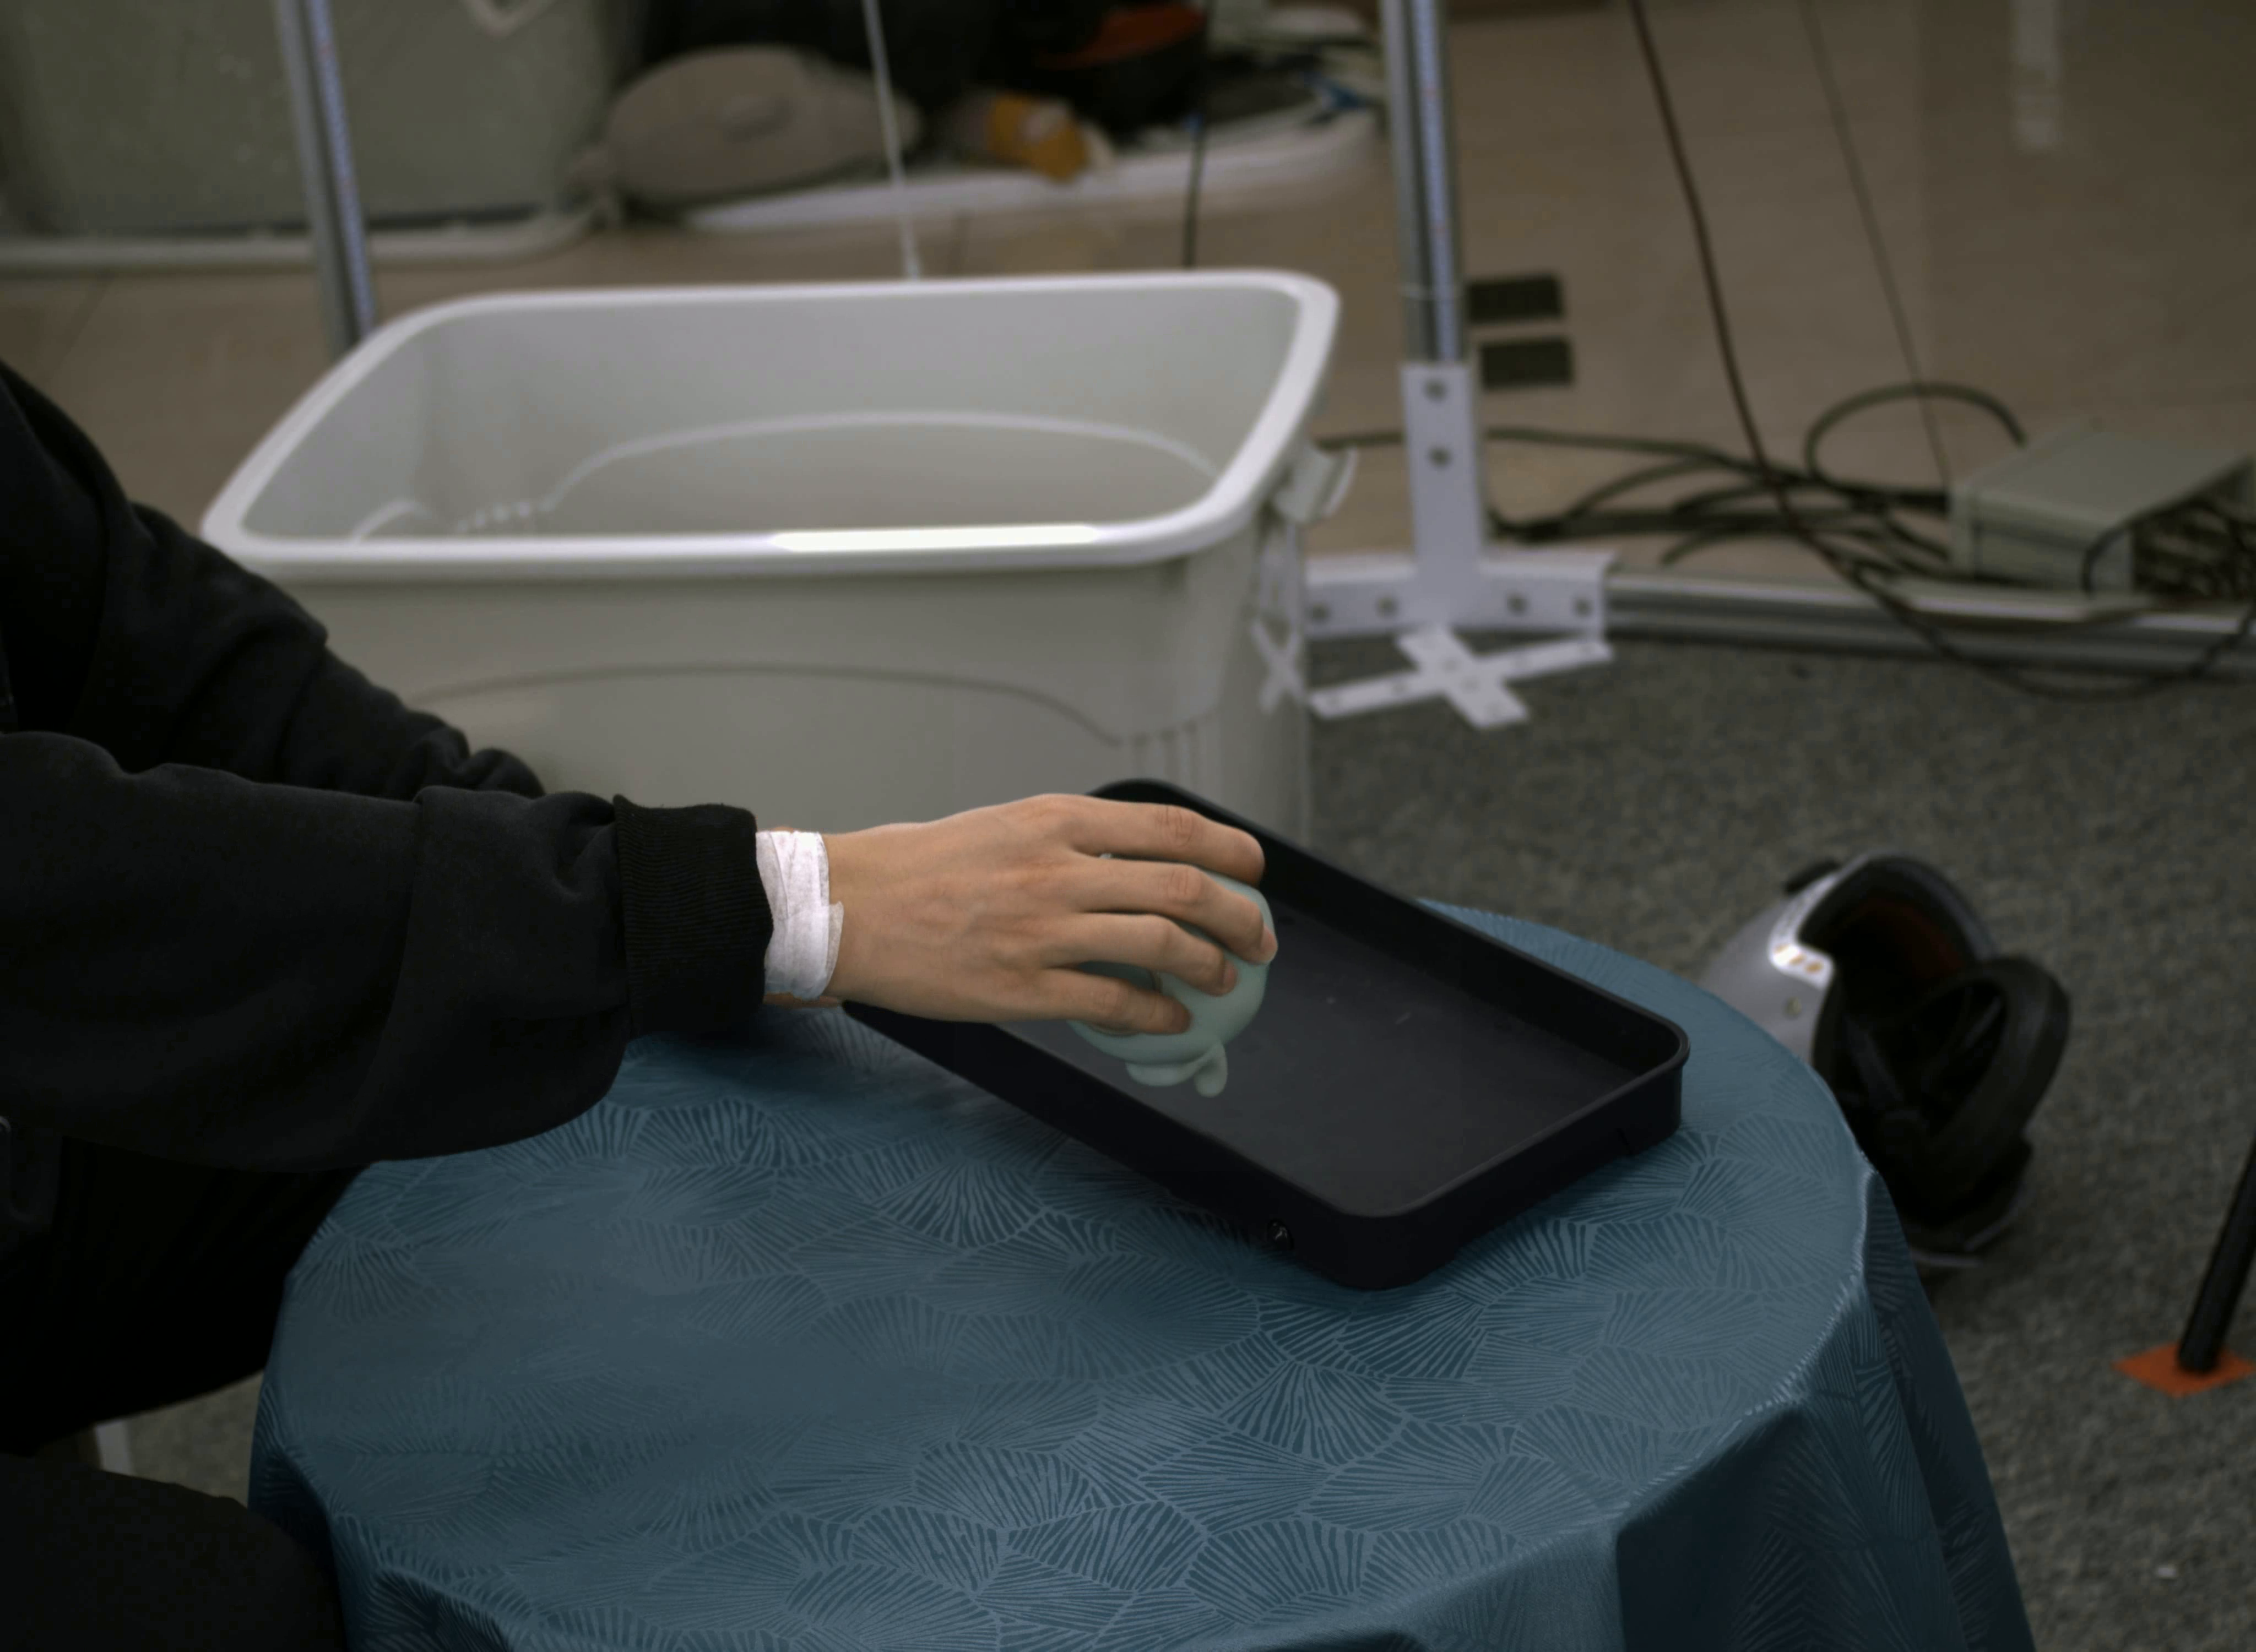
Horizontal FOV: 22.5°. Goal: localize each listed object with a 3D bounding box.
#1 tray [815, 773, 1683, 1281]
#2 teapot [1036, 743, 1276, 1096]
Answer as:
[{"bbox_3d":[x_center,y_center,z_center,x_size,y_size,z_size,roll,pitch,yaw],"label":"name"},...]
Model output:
[{"bbox_3d":[0.044,0.073,2.199,0.315,0.038,0.182,25,39,38],"label":"tray"},{"bbox_3d":[0.011,0.046,2.056,0.088,0.146,0.074,5,27,29],"label":"teapot"}]
